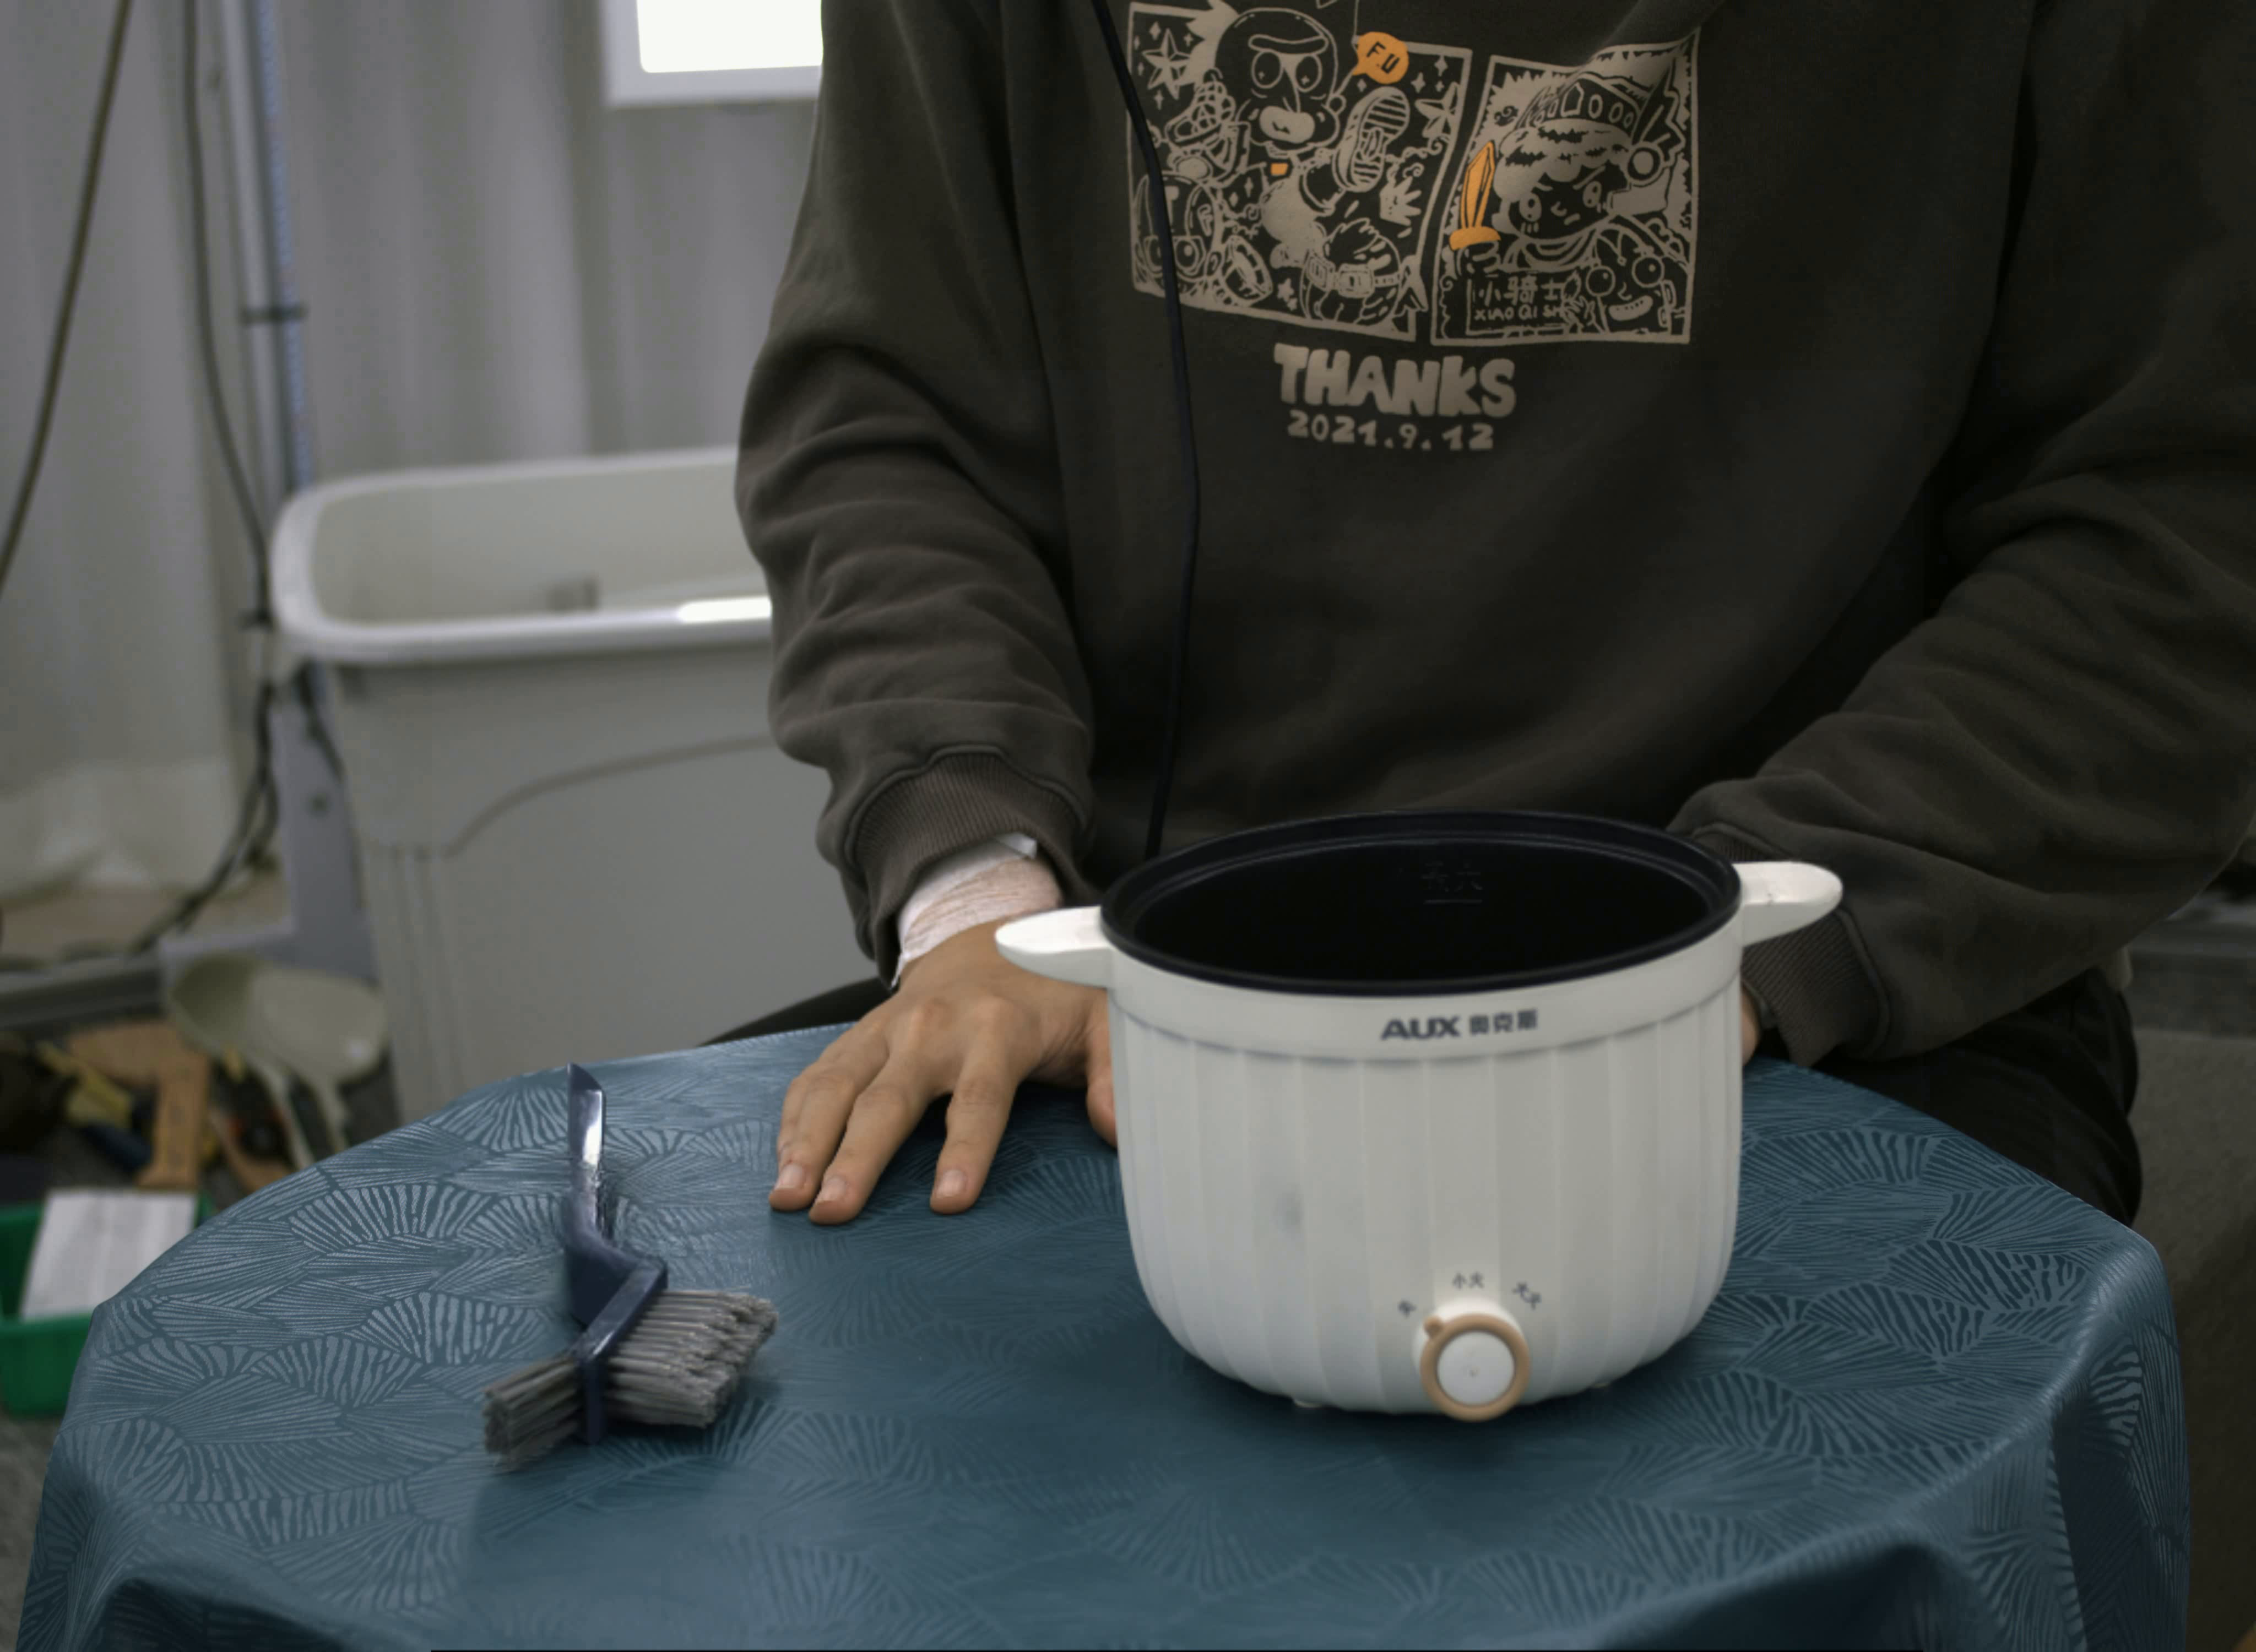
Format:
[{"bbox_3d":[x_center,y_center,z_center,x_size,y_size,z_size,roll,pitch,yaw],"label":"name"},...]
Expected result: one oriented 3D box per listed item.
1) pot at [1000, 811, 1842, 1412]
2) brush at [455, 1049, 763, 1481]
[{"bbox_3d":[0.088,0.084,1.553,0.239,0.142,0.191,-5,11,-3],"label":"pot"},{"bbox_3d":[-0.169,0.128,1.647,0.095,0.033,0.275,-7,17,-12],"label":"brush"}]
